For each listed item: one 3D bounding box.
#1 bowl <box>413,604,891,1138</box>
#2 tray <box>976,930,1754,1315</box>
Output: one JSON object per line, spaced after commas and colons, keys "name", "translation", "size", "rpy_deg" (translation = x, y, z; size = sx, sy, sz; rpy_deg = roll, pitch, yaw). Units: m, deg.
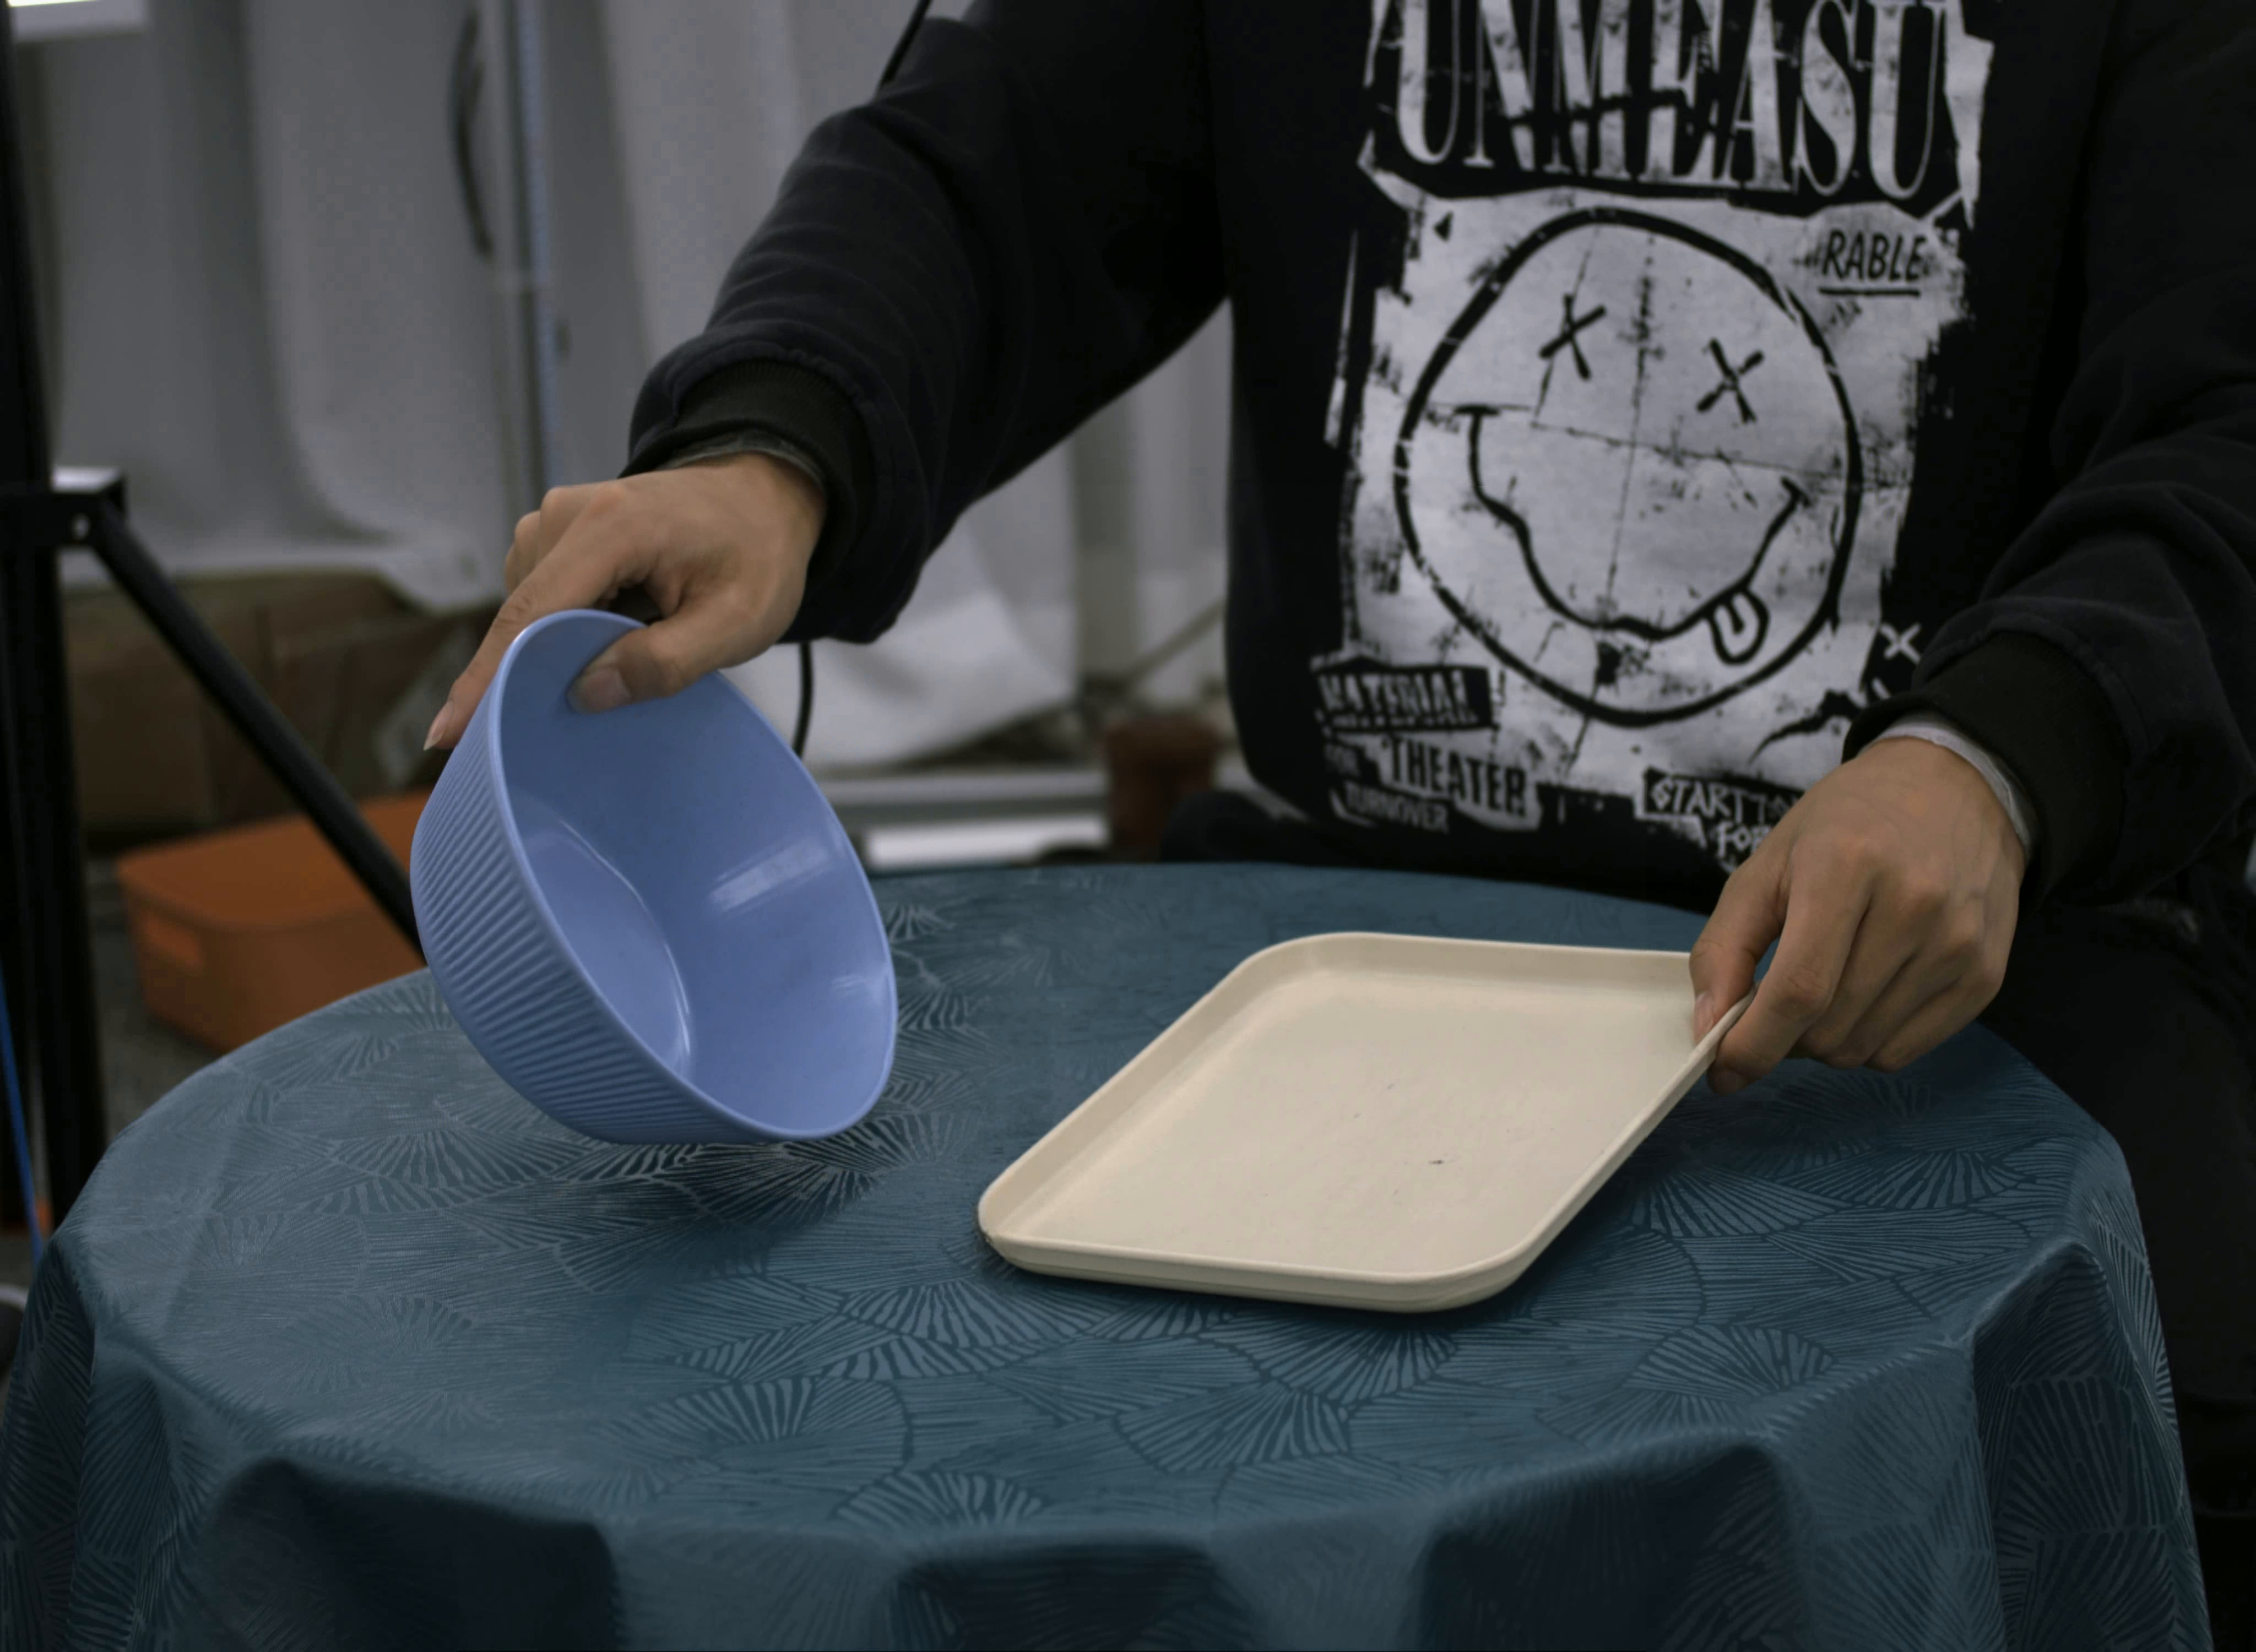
{"name": "bowl", "translation": [-0.151, 0.026, 1.591], "size": [0.071, 0.176, 0.174], "rpy_deg": [-31, 2, 26]}
{"name": "tray", "translation": [0.074, 0.085, 1.554], "size": [0.174, 0.017, 0.236], "rpy_deg": [4, 22, 27]}
